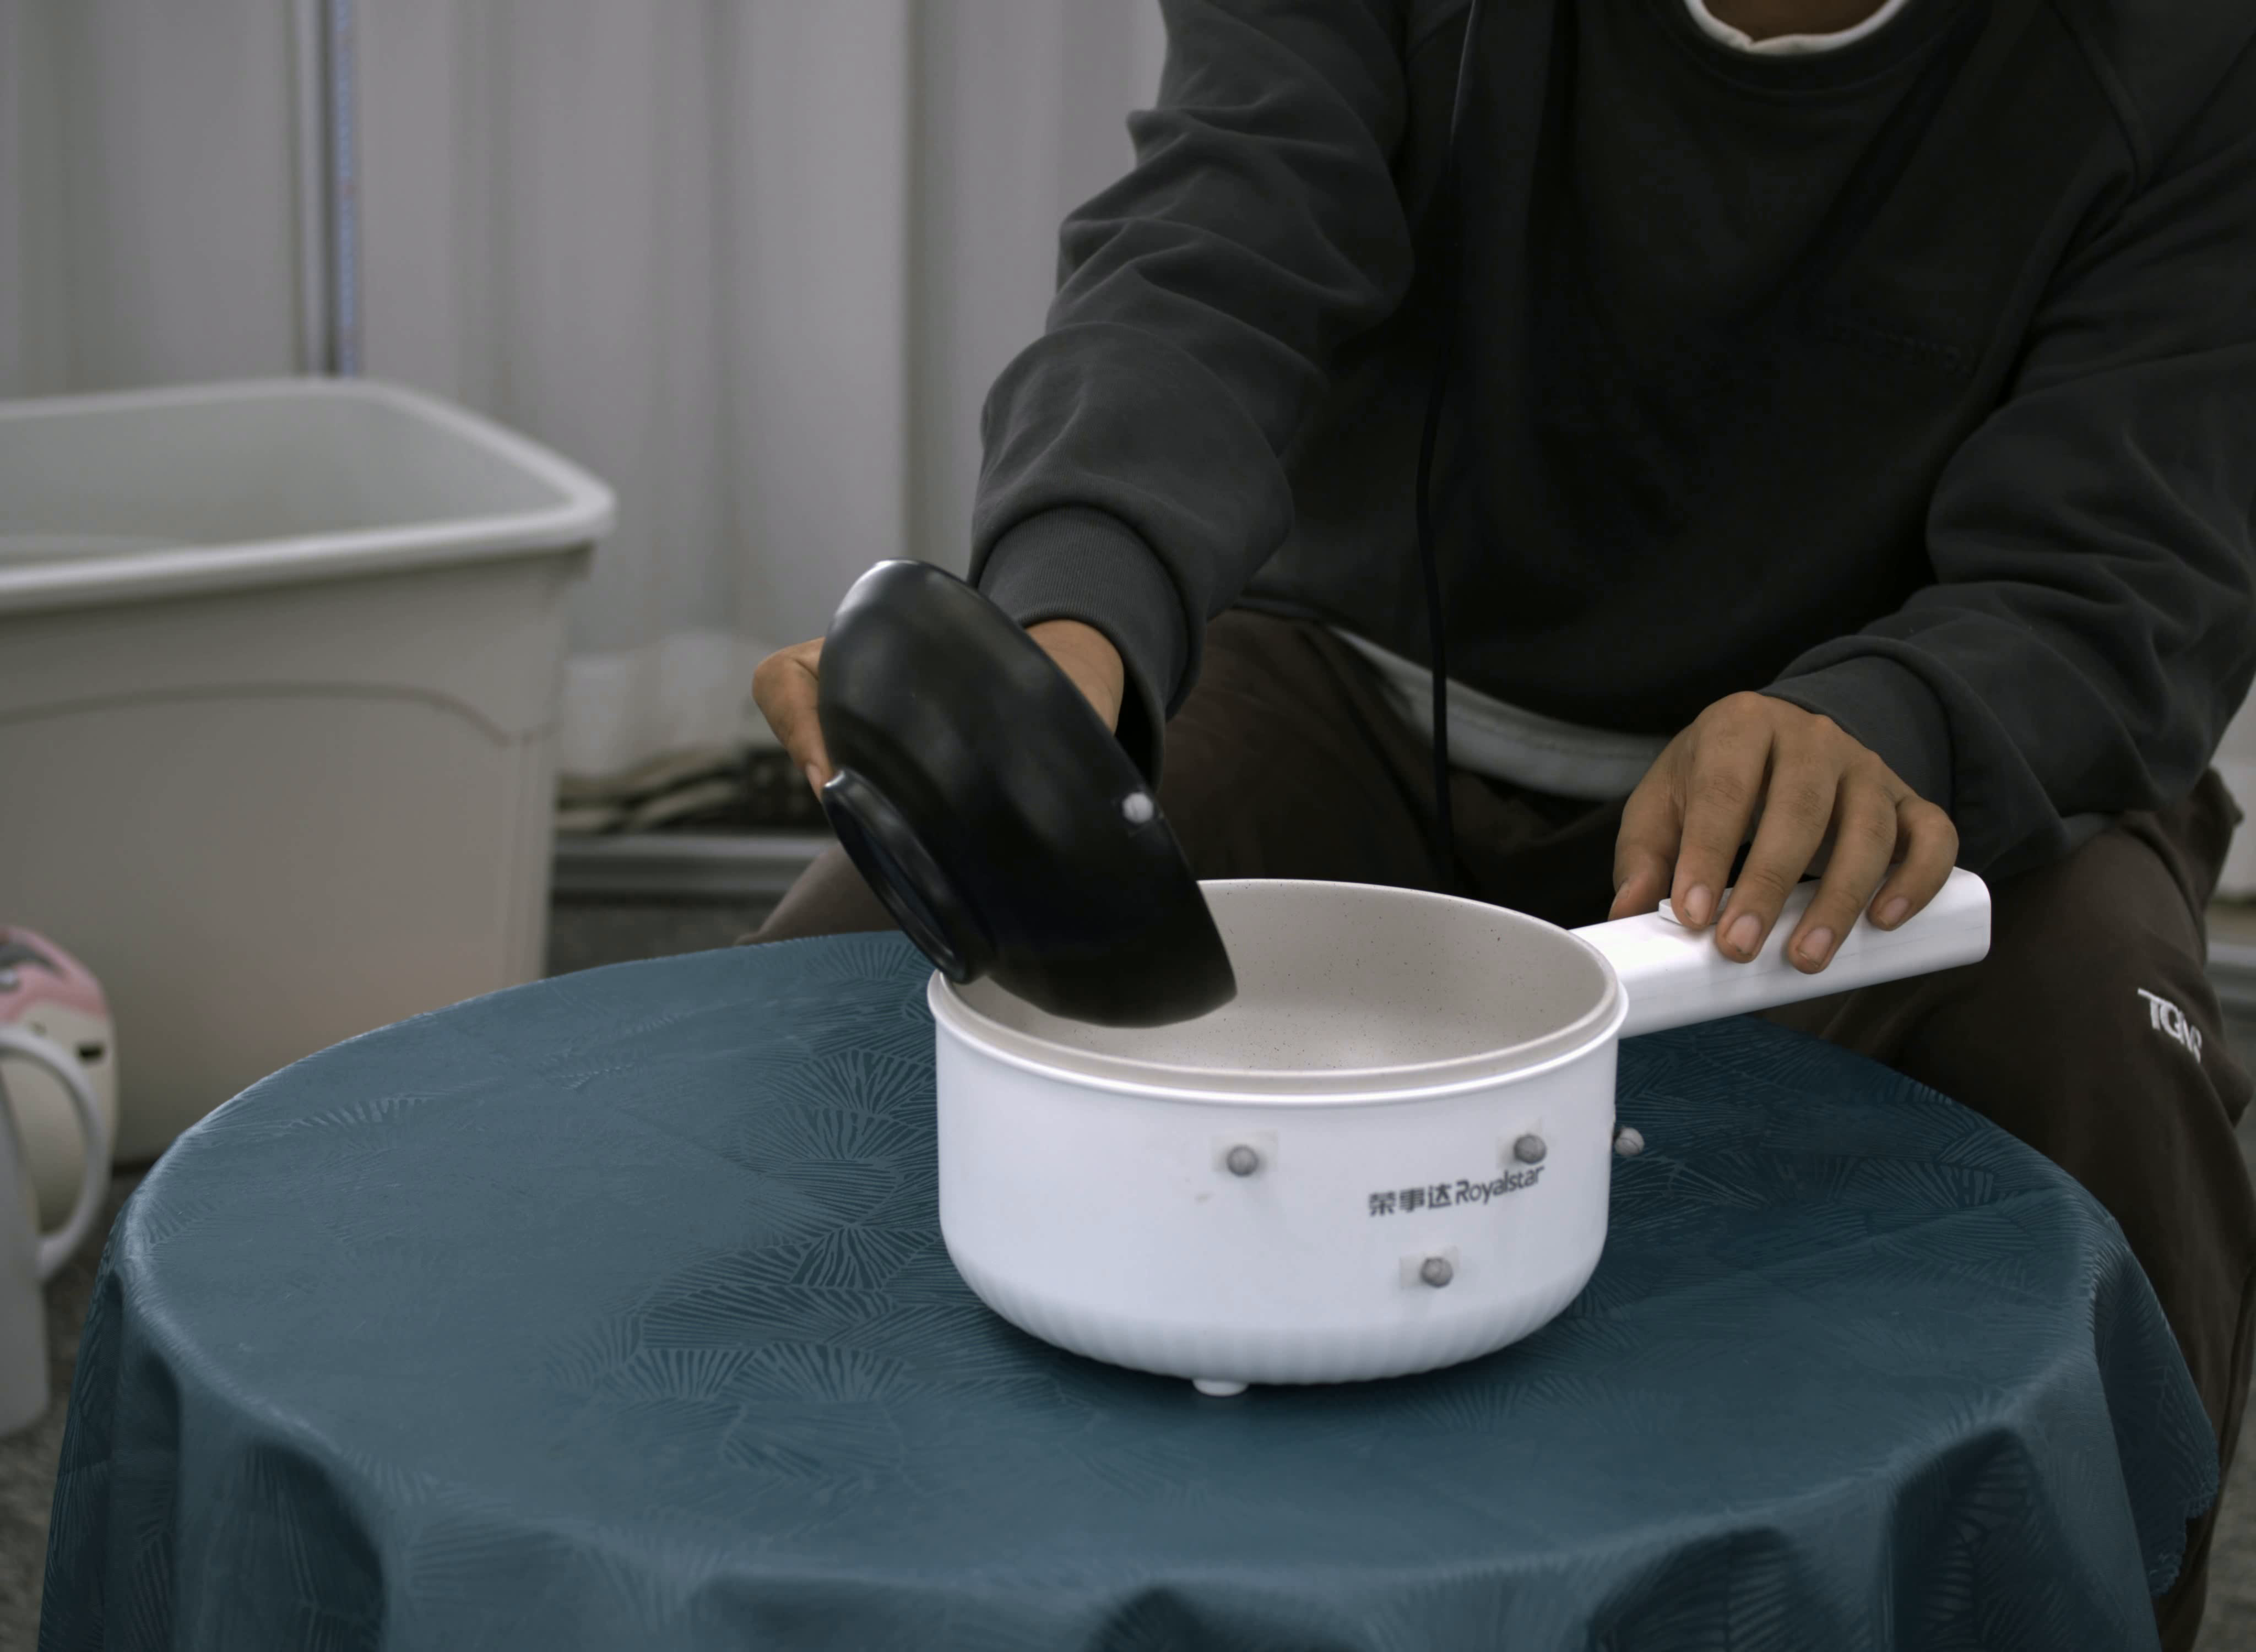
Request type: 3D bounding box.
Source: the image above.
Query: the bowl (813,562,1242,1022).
[{"bbox_3d":[-0.041,-0.001,1.484,0.066,0.139,0.168,-38,61,-12],"label":"bowl"}]

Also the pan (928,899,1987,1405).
[{"bbox_3d":[0.107,0.088,1.563,0.356,0.103,0.199,-7,13,-33],"label":"pan"}]
